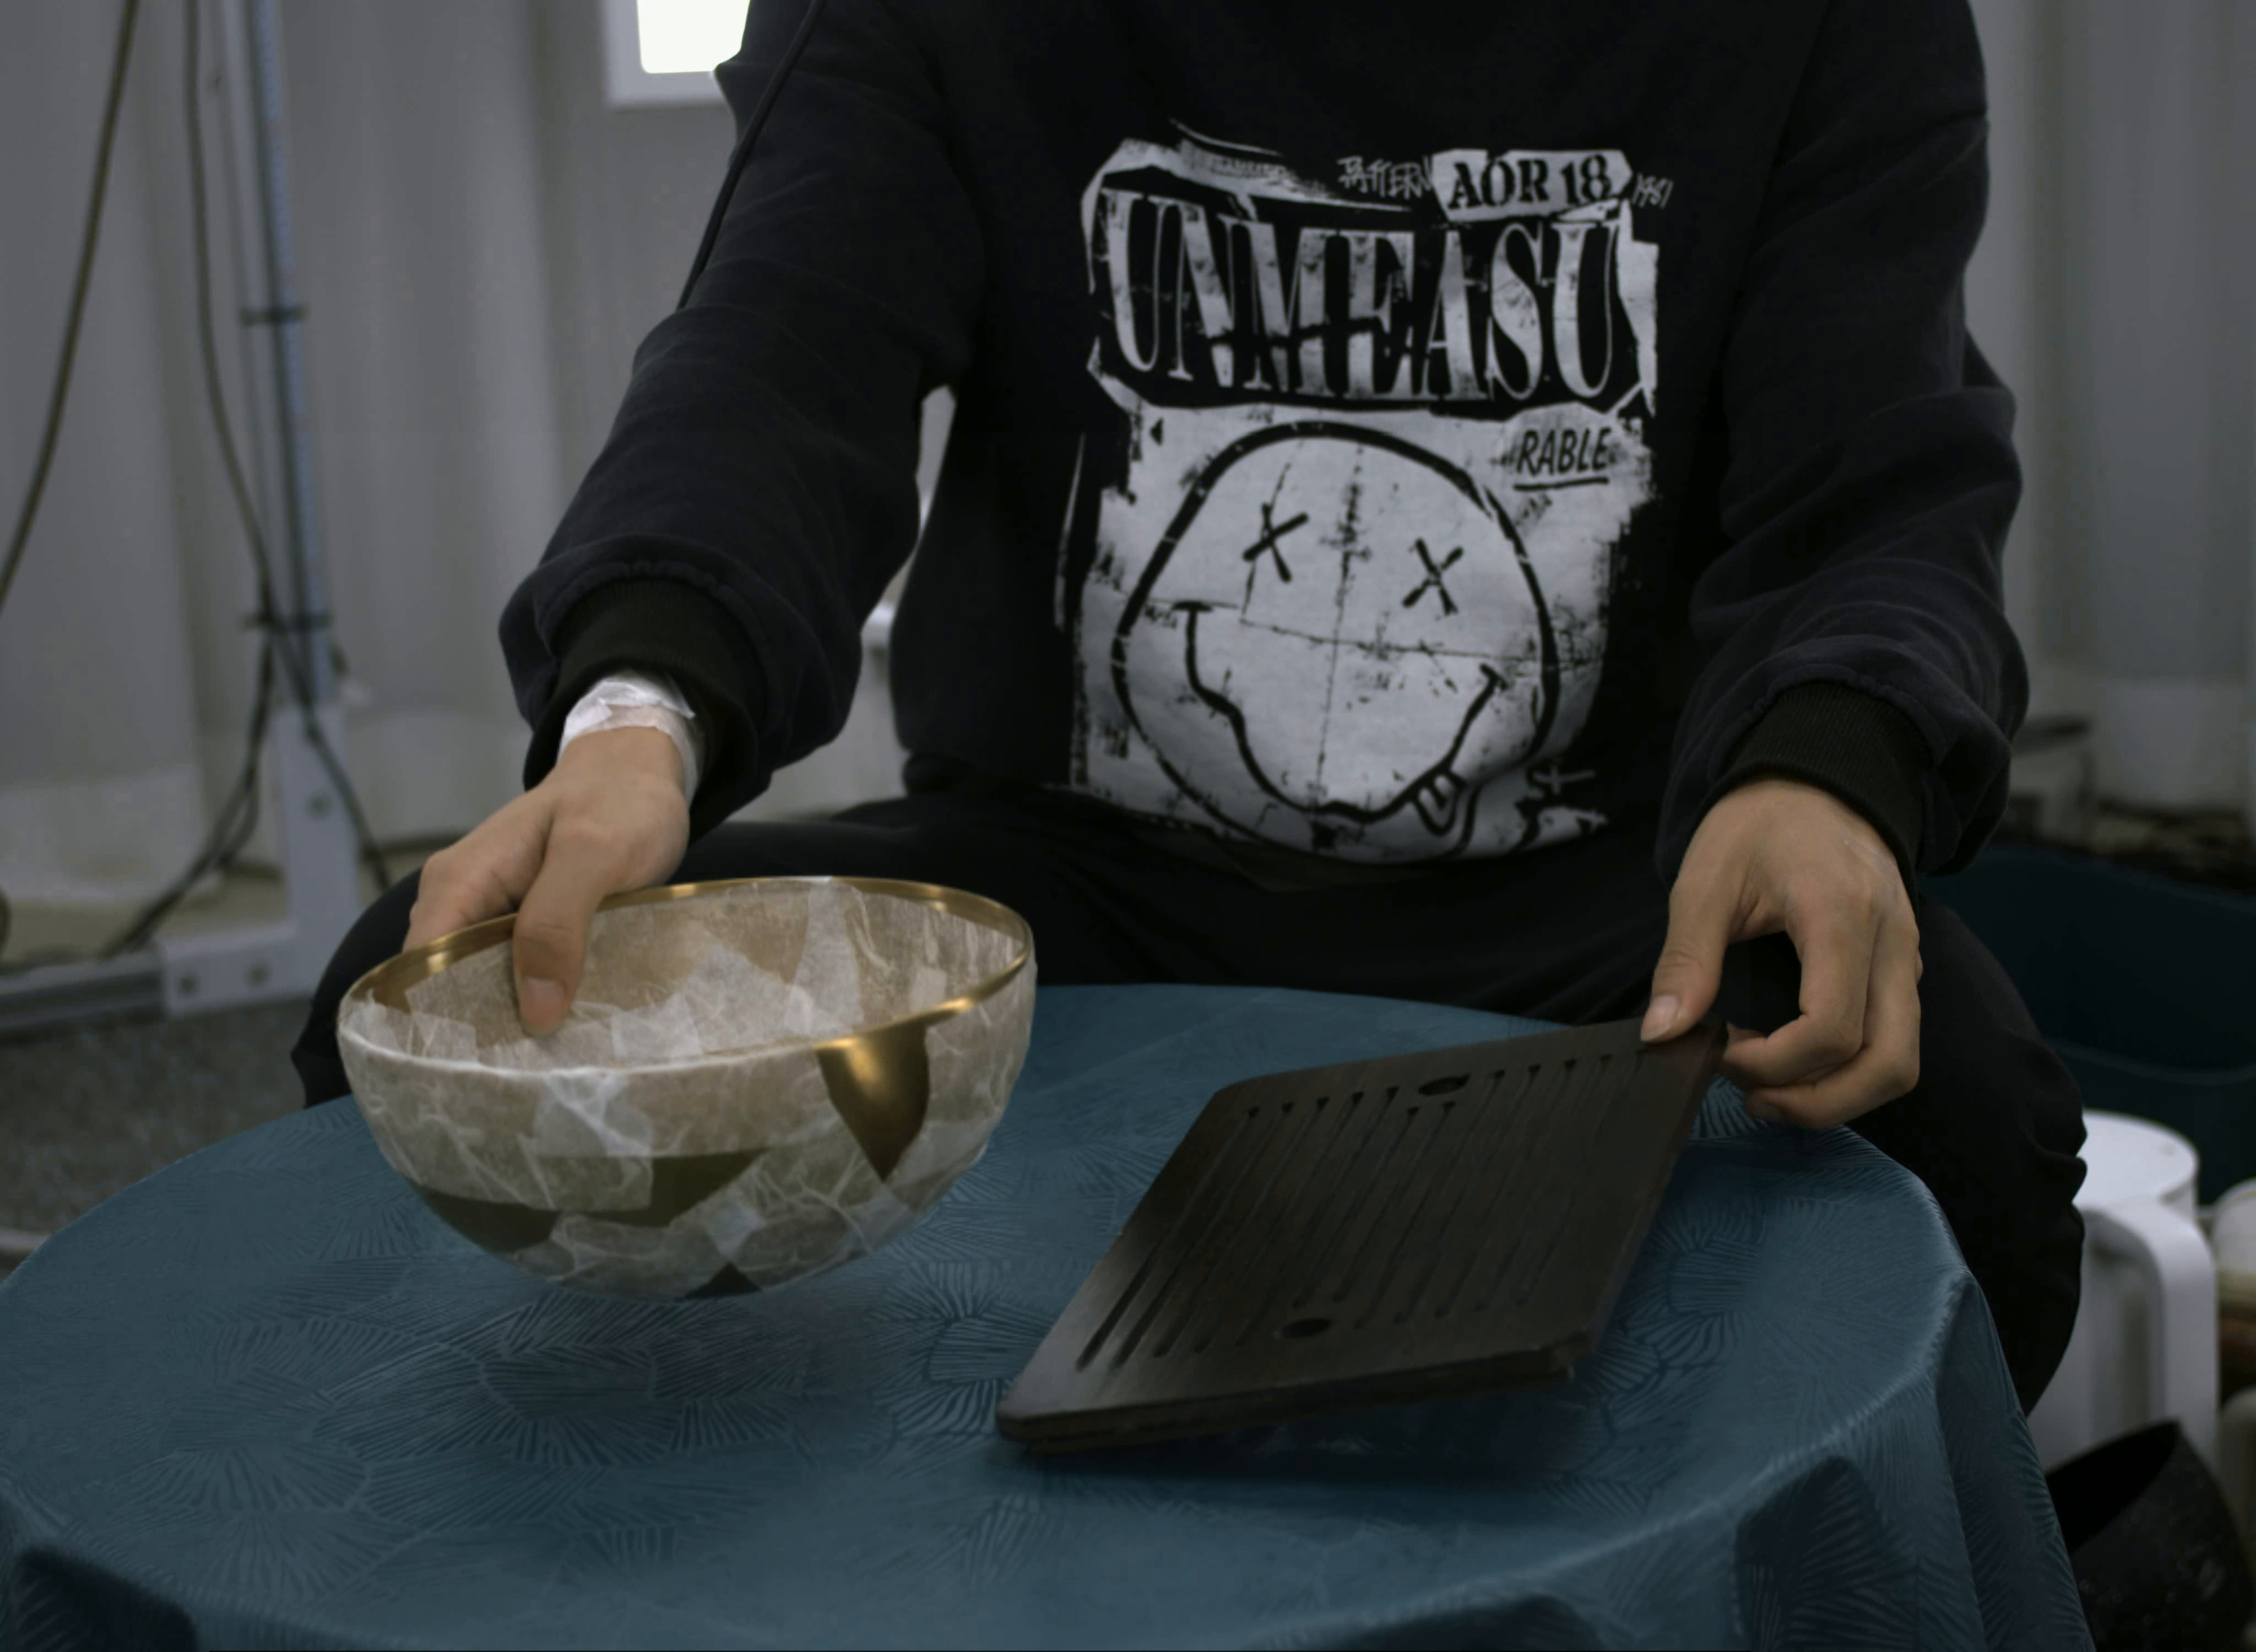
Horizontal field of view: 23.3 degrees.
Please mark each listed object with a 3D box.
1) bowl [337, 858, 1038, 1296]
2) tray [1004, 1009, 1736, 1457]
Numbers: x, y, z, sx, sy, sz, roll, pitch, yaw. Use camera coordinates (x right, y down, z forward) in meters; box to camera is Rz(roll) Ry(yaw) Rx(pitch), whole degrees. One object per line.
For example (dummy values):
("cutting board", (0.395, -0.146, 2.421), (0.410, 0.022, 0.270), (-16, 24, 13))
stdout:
("bowl", (-0.119, 0.080, 1.578), (0.214, 0.094, 0.216), (-6, 13, 1))
("tray", (0.079, 0.117, 1.603), (0.170, 0.018, 0.307), (-10, 12, 16))
